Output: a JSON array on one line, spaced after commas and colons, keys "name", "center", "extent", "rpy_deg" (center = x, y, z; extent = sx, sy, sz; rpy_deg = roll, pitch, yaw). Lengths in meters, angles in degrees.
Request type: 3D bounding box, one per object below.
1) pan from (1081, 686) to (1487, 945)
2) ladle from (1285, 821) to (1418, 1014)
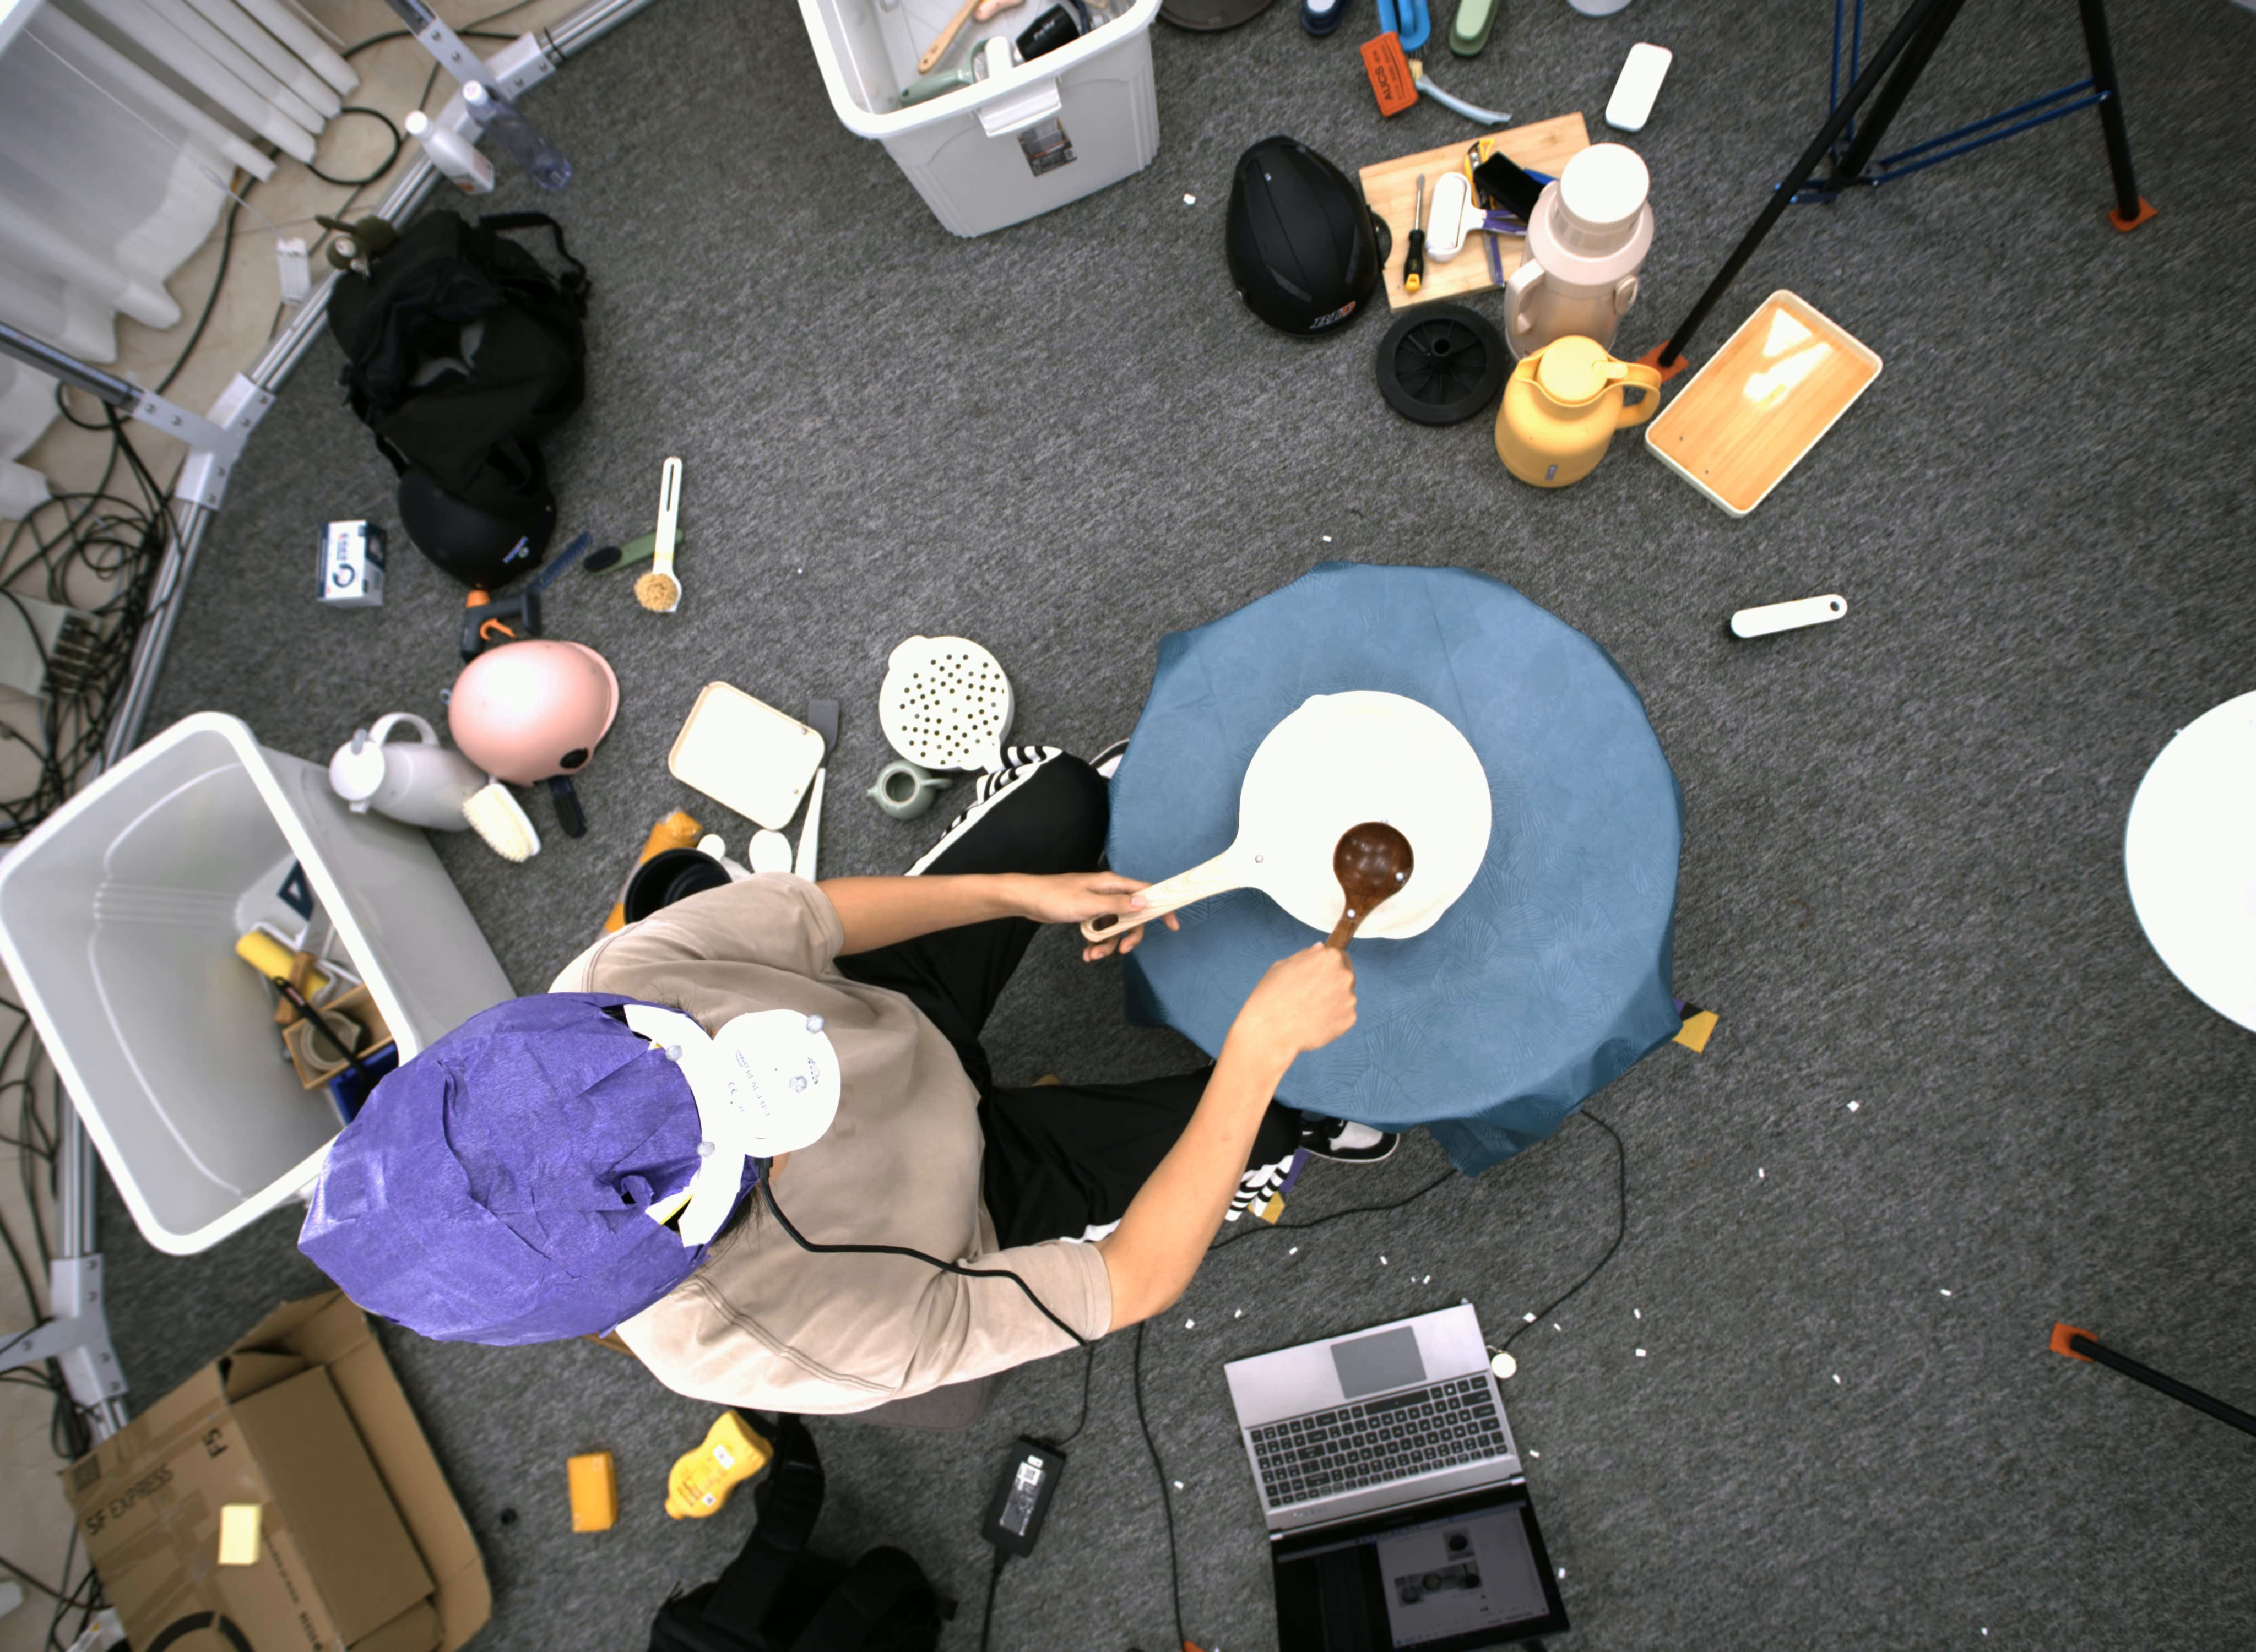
[{"name": "pan", "center": [0.157, 0.023, 1.435], "extent": [0.437, 0.102, 0.262], "rpy_deg": [-24, 84, 8]}, {"name": "ladle", "center": [0.205, 0.076, 1.290], "extent": [0.082, 0.268, 0.078], "rpy_deg": [10, 118, 23]}]
